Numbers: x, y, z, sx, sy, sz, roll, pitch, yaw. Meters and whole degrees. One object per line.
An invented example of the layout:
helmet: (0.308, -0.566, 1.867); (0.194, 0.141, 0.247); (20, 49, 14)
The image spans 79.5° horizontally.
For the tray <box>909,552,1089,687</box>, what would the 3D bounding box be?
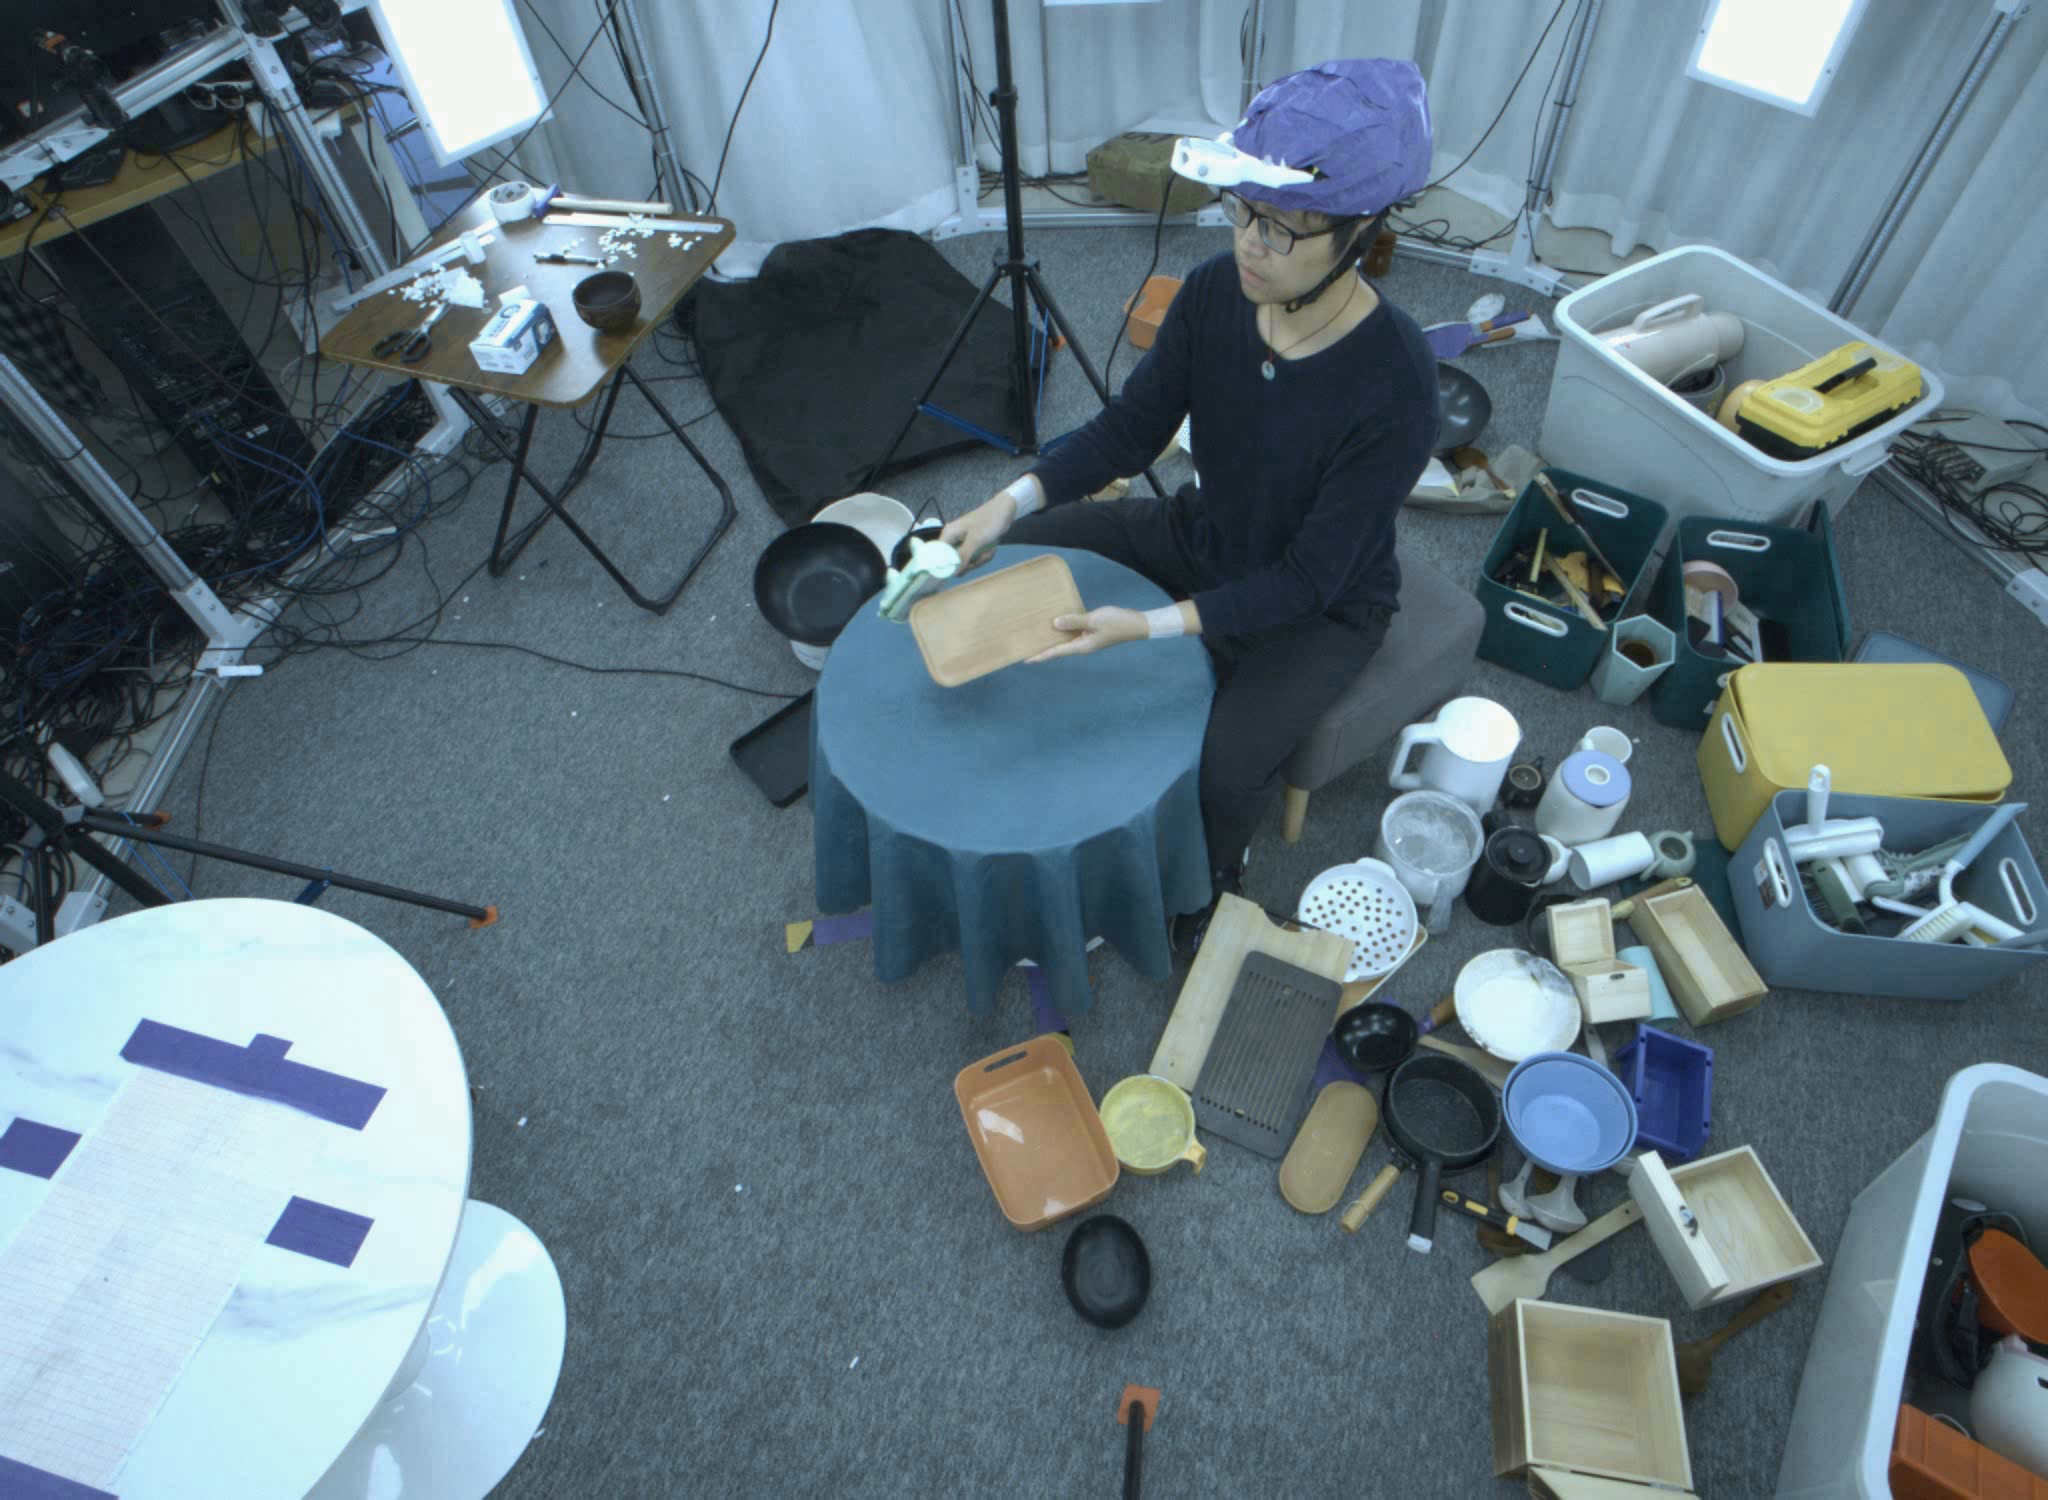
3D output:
tray: (-0.033, -0.182, 1.701); (0.253, 0.022, 0.131); (-23, 98, -23)

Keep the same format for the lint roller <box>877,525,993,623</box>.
lint roller: (-0.124, -0.275, 1.714); (0.083, 0.196, 0.184); (42, 64, -8)
